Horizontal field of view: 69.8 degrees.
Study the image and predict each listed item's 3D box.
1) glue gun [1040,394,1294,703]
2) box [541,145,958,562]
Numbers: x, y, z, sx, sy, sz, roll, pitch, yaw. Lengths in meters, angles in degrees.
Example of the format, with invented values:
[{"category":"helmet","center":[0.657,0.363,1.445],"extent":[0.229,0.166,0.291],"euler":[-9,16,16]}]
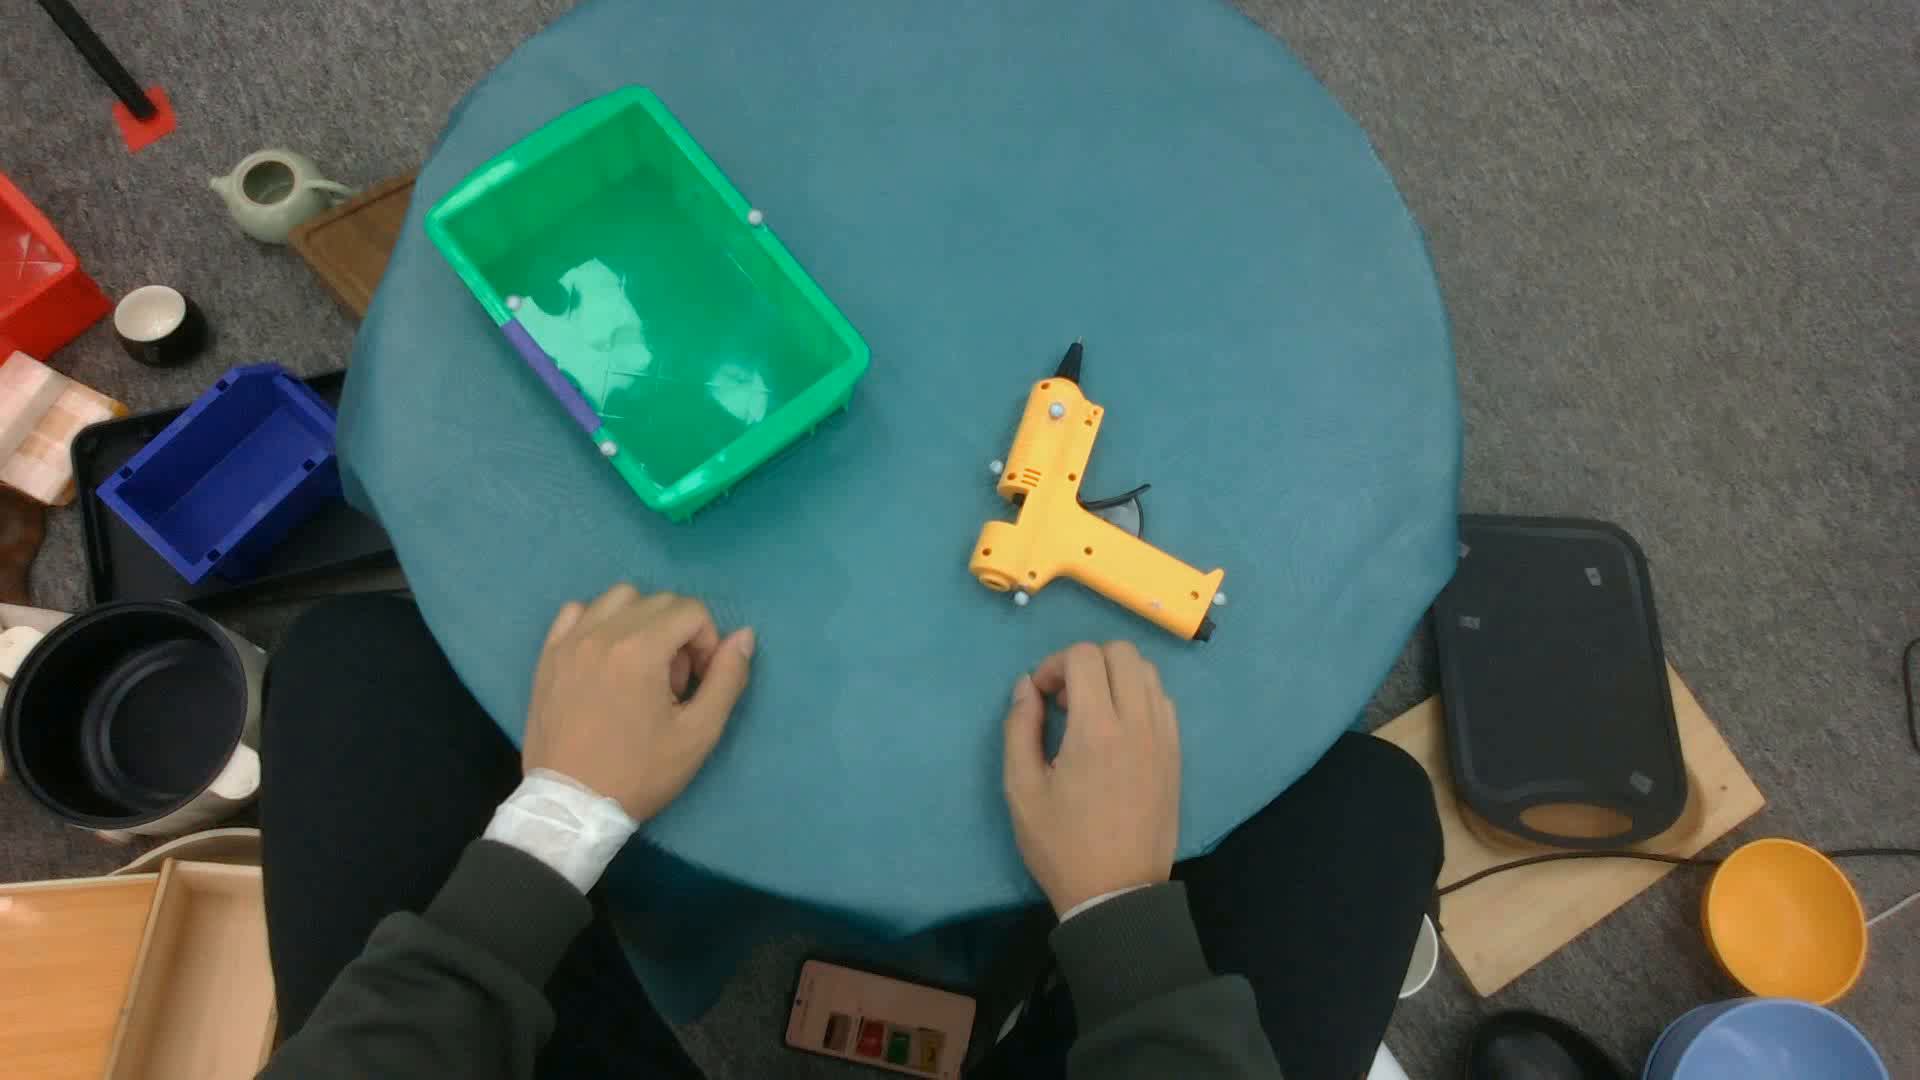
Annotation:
[{"category":"glue gun","center":[0.126,-0.001,0.746],"extent":[0.133,0.031,0.152],"euler":[17,72,2]},{"category":"box","center":[-0.112,-0.097,0.746],"extent":[0.139,0.065,0.210],"euler":[-37,79,-11]}]
